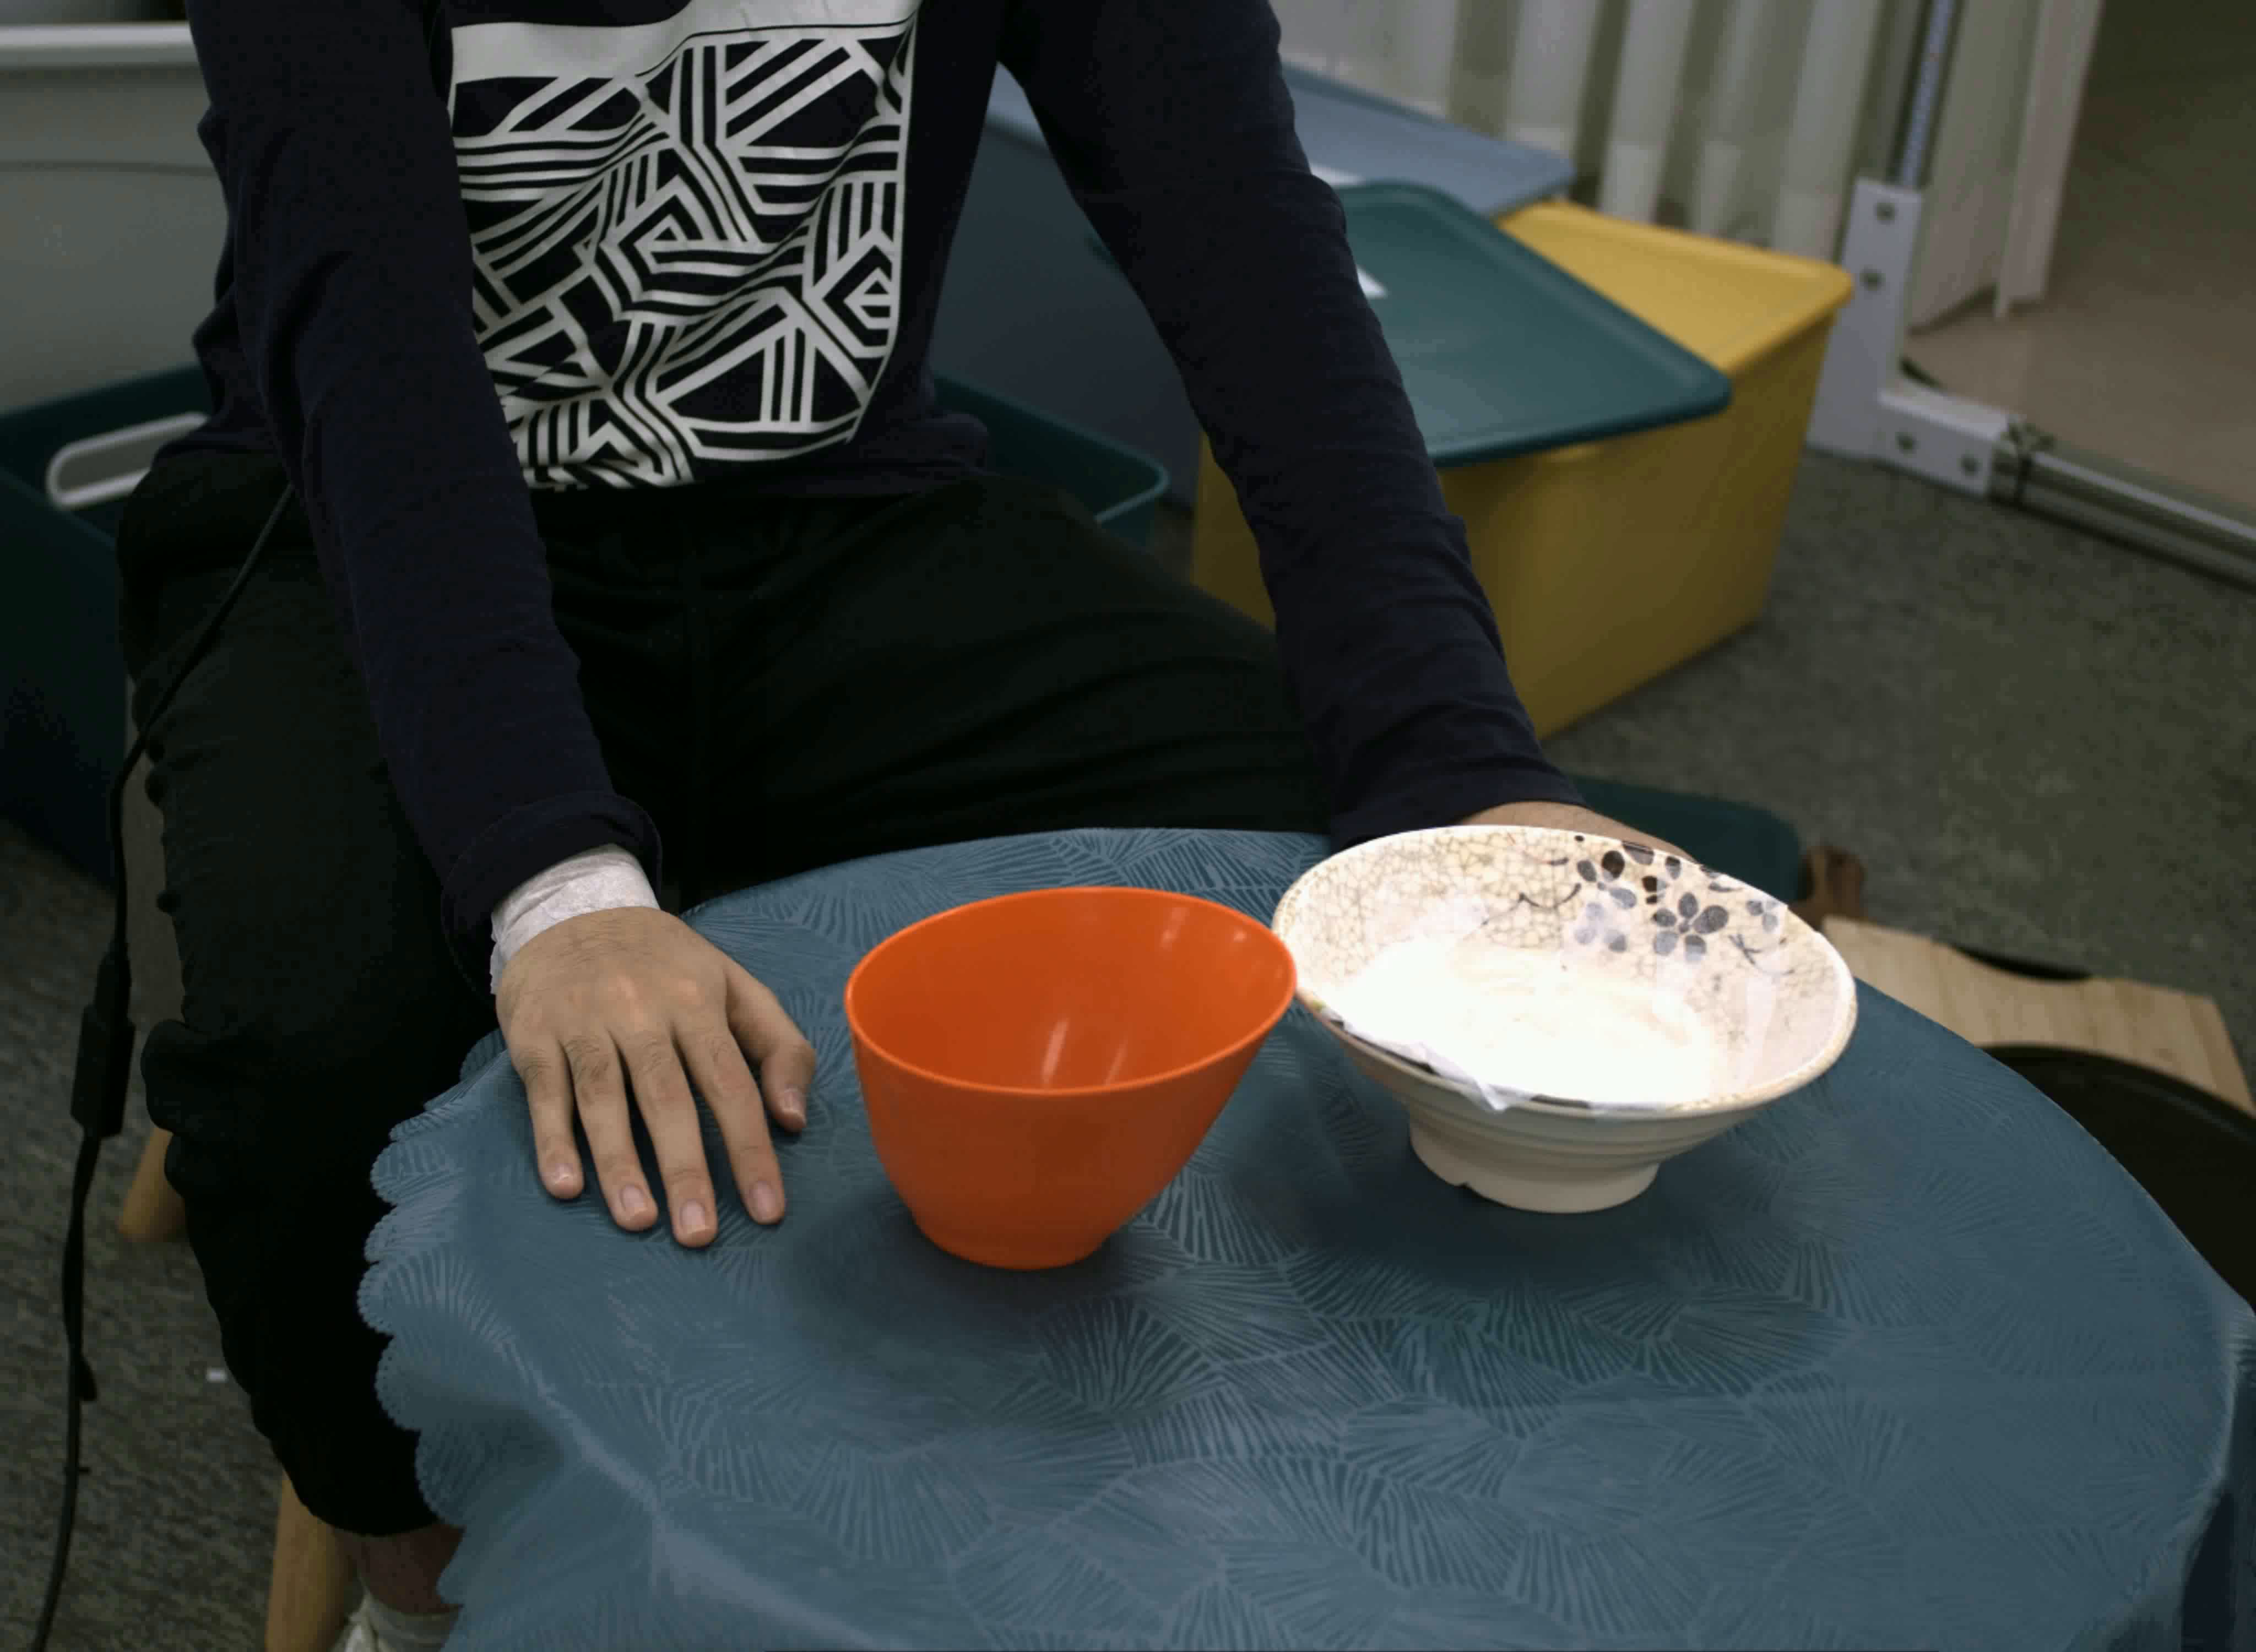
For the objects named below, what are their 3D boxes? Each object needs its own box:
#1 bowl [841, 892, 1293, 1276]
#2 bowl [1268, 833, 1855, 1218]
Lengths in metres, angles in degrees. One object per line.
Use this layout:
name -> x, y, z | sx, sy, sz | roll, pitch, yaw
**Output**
bowl -> -0.024, 0.090, 1.758 | 0.147, 0.104, 0.149 | 4, 26, -2
bowl -> 0.145, 0.081, 1.839 | 0.203, 0.078, 0.205 | 6, 25, -3
